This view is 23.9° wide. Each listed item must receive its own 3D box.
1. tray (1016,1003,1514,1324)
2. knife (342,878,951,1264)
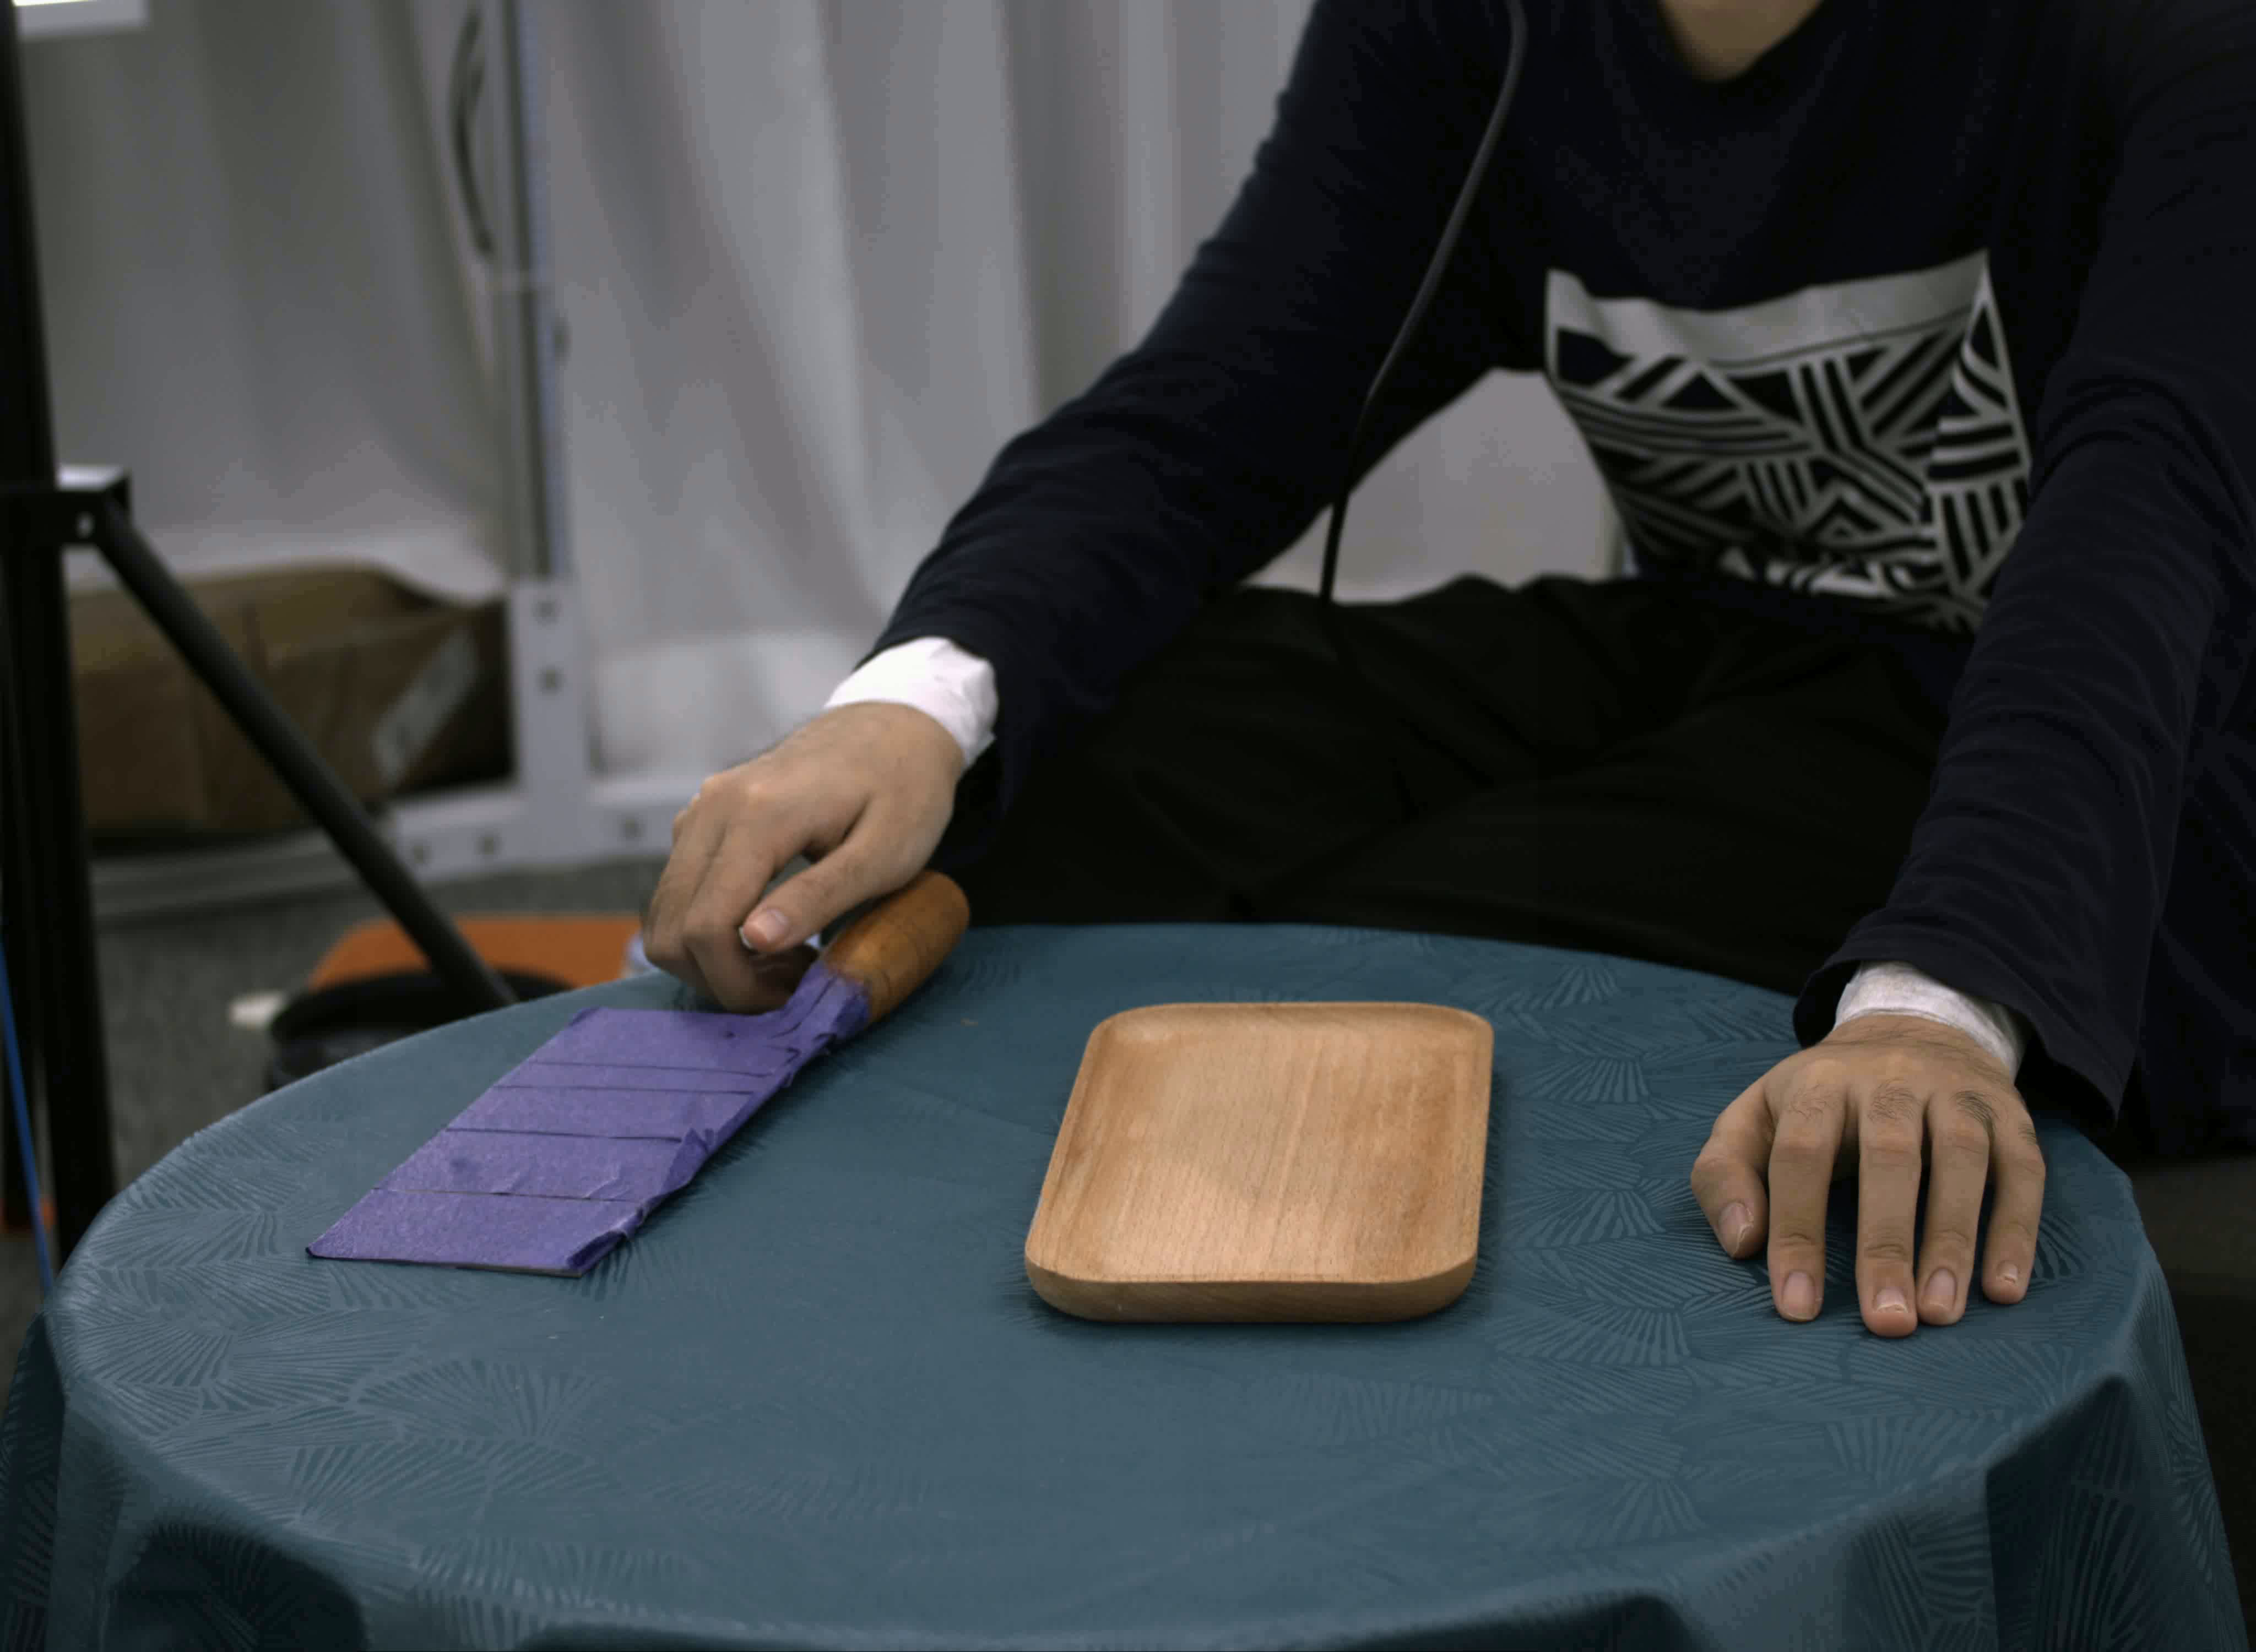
[{"bbox_3d":[0.045,0.097,1.565,0.131,0.023,0.250,2,15,8],"label":"tray"},{"bbox_3d":[-0.147,0.073,1.660,0.105,0.032,0.312,3,17,18],"label":"knife"}]
